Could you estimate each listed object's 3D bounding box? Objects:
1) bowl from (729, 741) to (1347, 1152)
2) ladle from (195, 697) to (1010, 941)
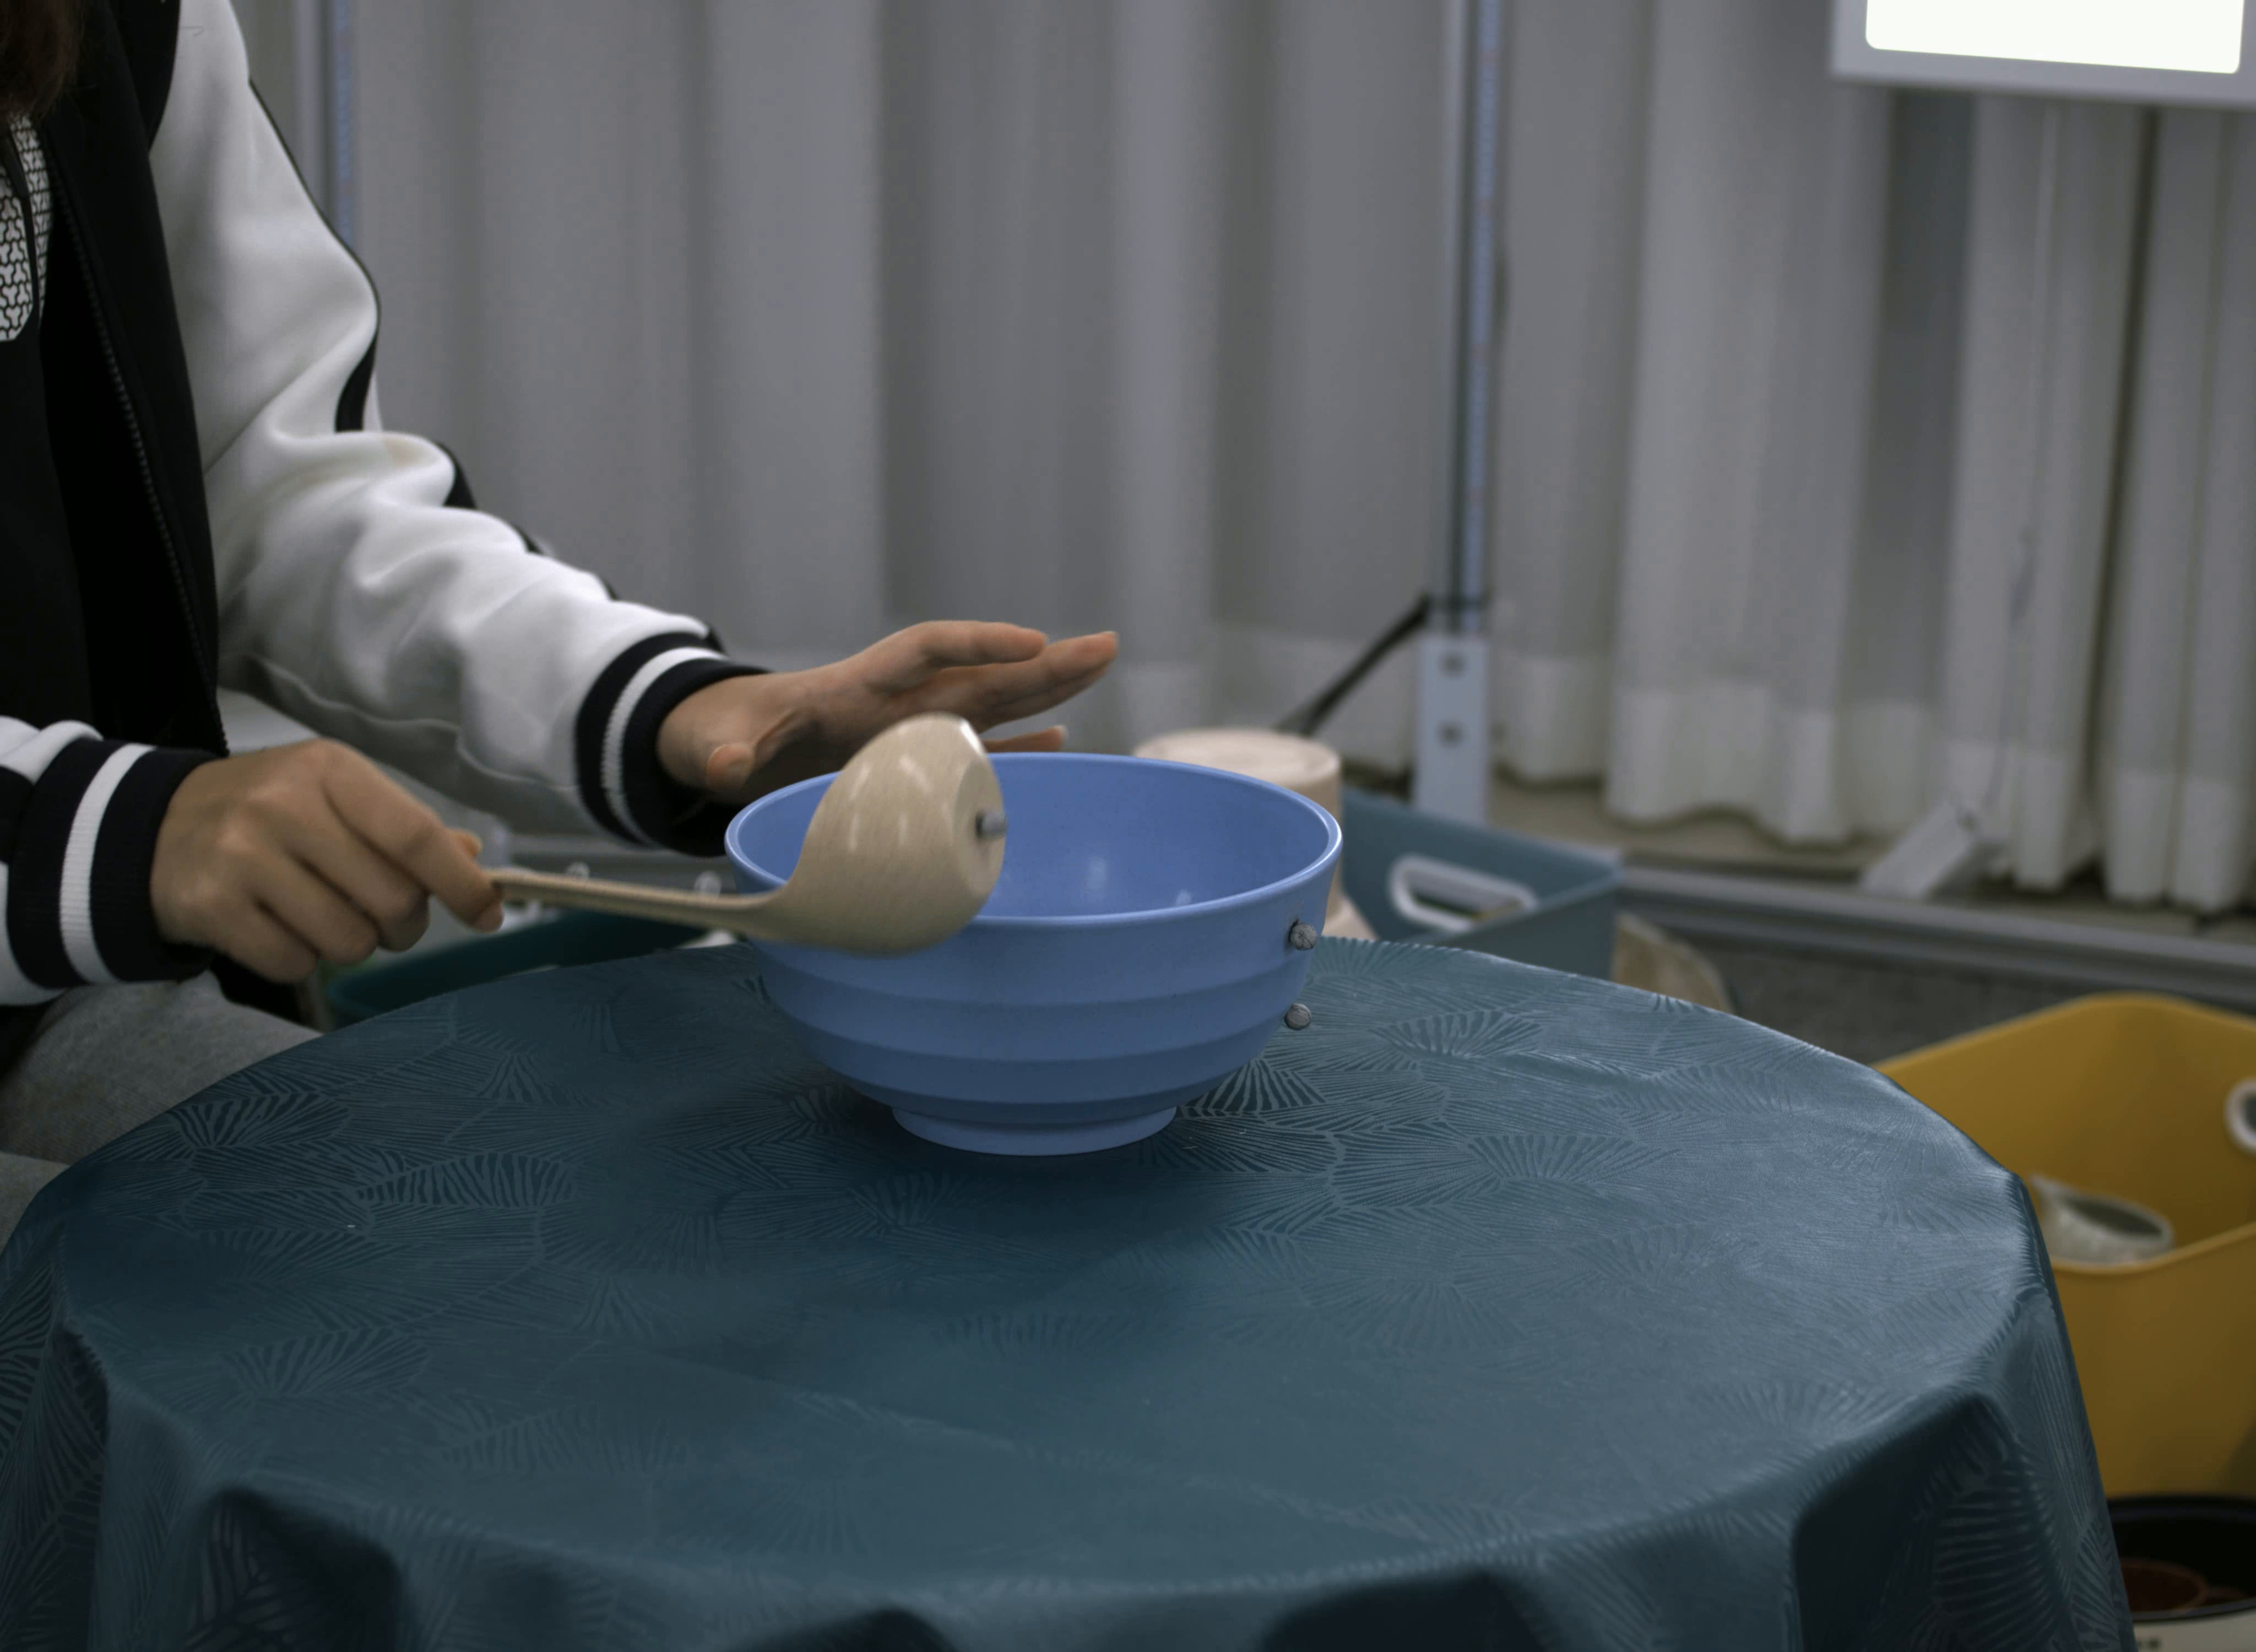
[{"bbox_3d":[-0.030,0.044,1.682,0.196,0.096,0.195,3,16,0],"label":"bowl"},{"bbox_3d":[-0.157,-0.008,1.574,0.252,0.073,0.072,4,57,21],"label":"ladle"}]
